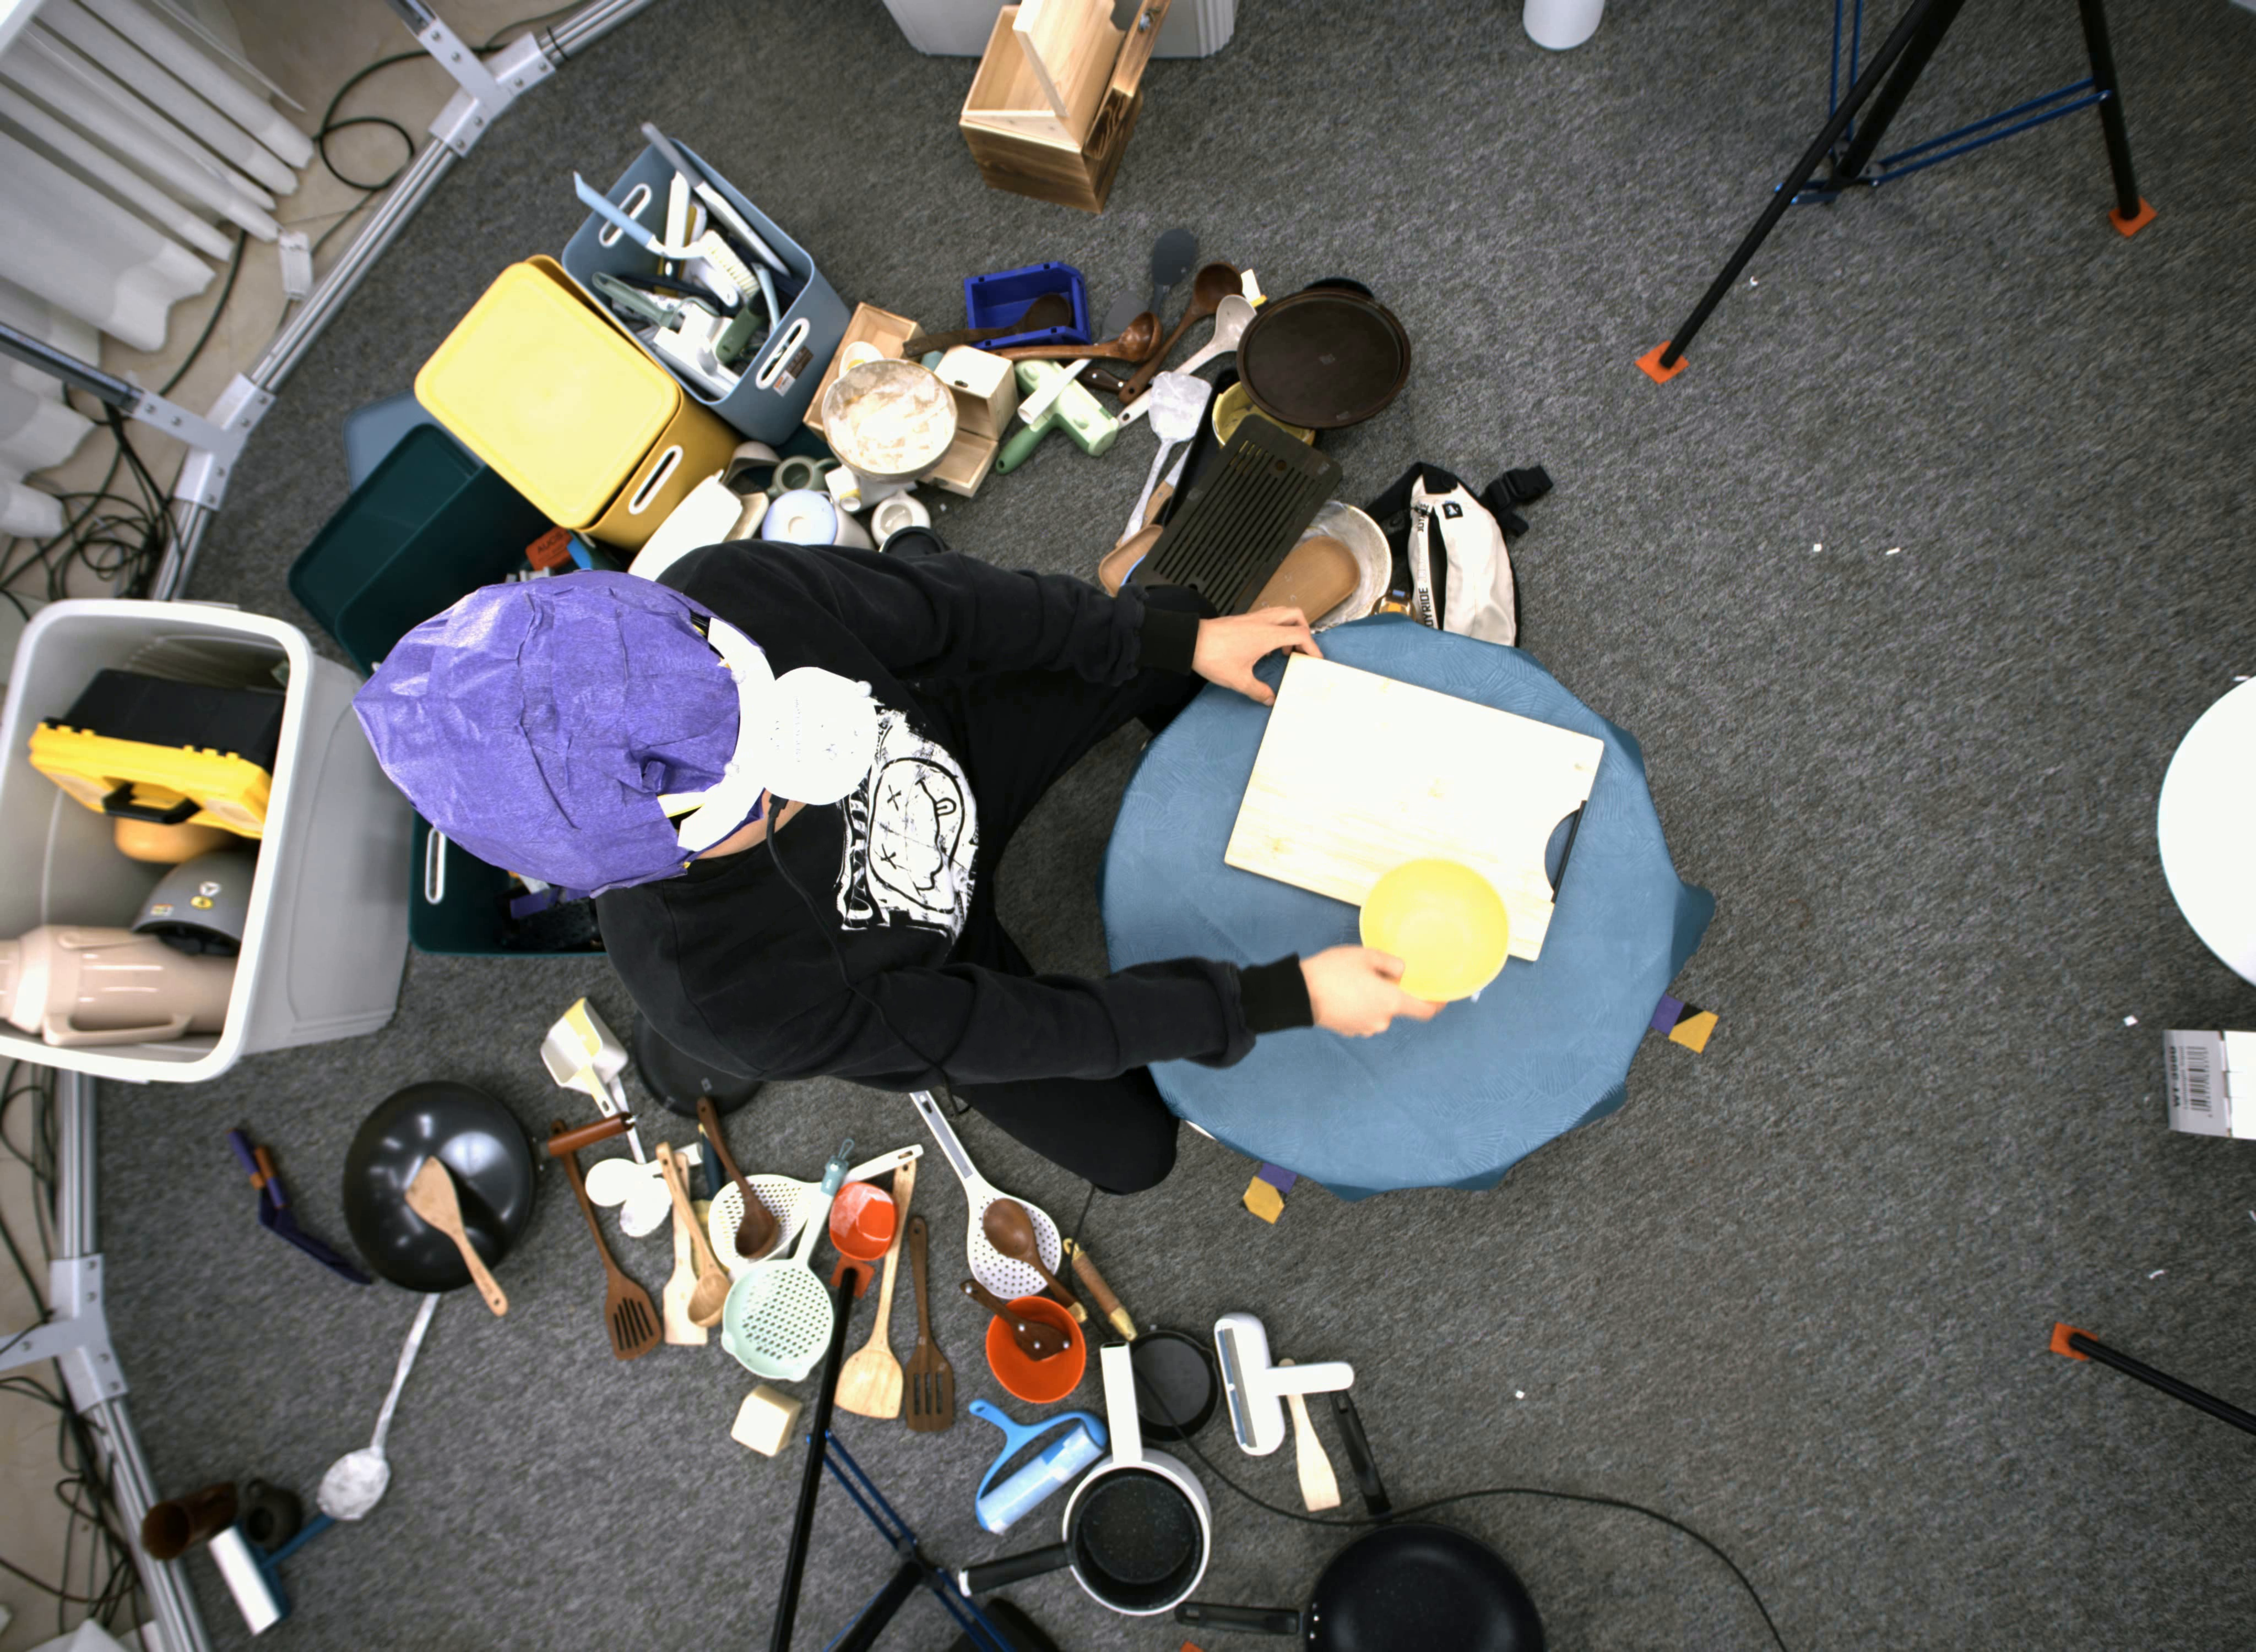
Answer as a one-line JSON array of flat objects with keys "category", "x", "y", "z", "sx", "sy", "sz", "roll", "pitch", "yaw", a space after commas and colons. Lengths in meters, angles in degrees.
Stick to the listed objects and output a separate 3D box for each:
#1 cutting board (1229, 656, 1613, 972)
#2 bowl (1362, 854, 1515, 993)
[{"category": "cutting board", "x": 0.307, "y": -0.019, "z": 1.456, "sx": 0.349, "sy": 0.023, "sz": 0.250, "roll": 17, "pitch": 90, "yaw": 11}, {"category": "bowl", "x": 0.299, "y": 0.103, "z": 1.343, "sx": 0.146, "sy": 0.061, "sz": 0.142, "roll": -3, "pitch": 64, "yaw": 6}]
